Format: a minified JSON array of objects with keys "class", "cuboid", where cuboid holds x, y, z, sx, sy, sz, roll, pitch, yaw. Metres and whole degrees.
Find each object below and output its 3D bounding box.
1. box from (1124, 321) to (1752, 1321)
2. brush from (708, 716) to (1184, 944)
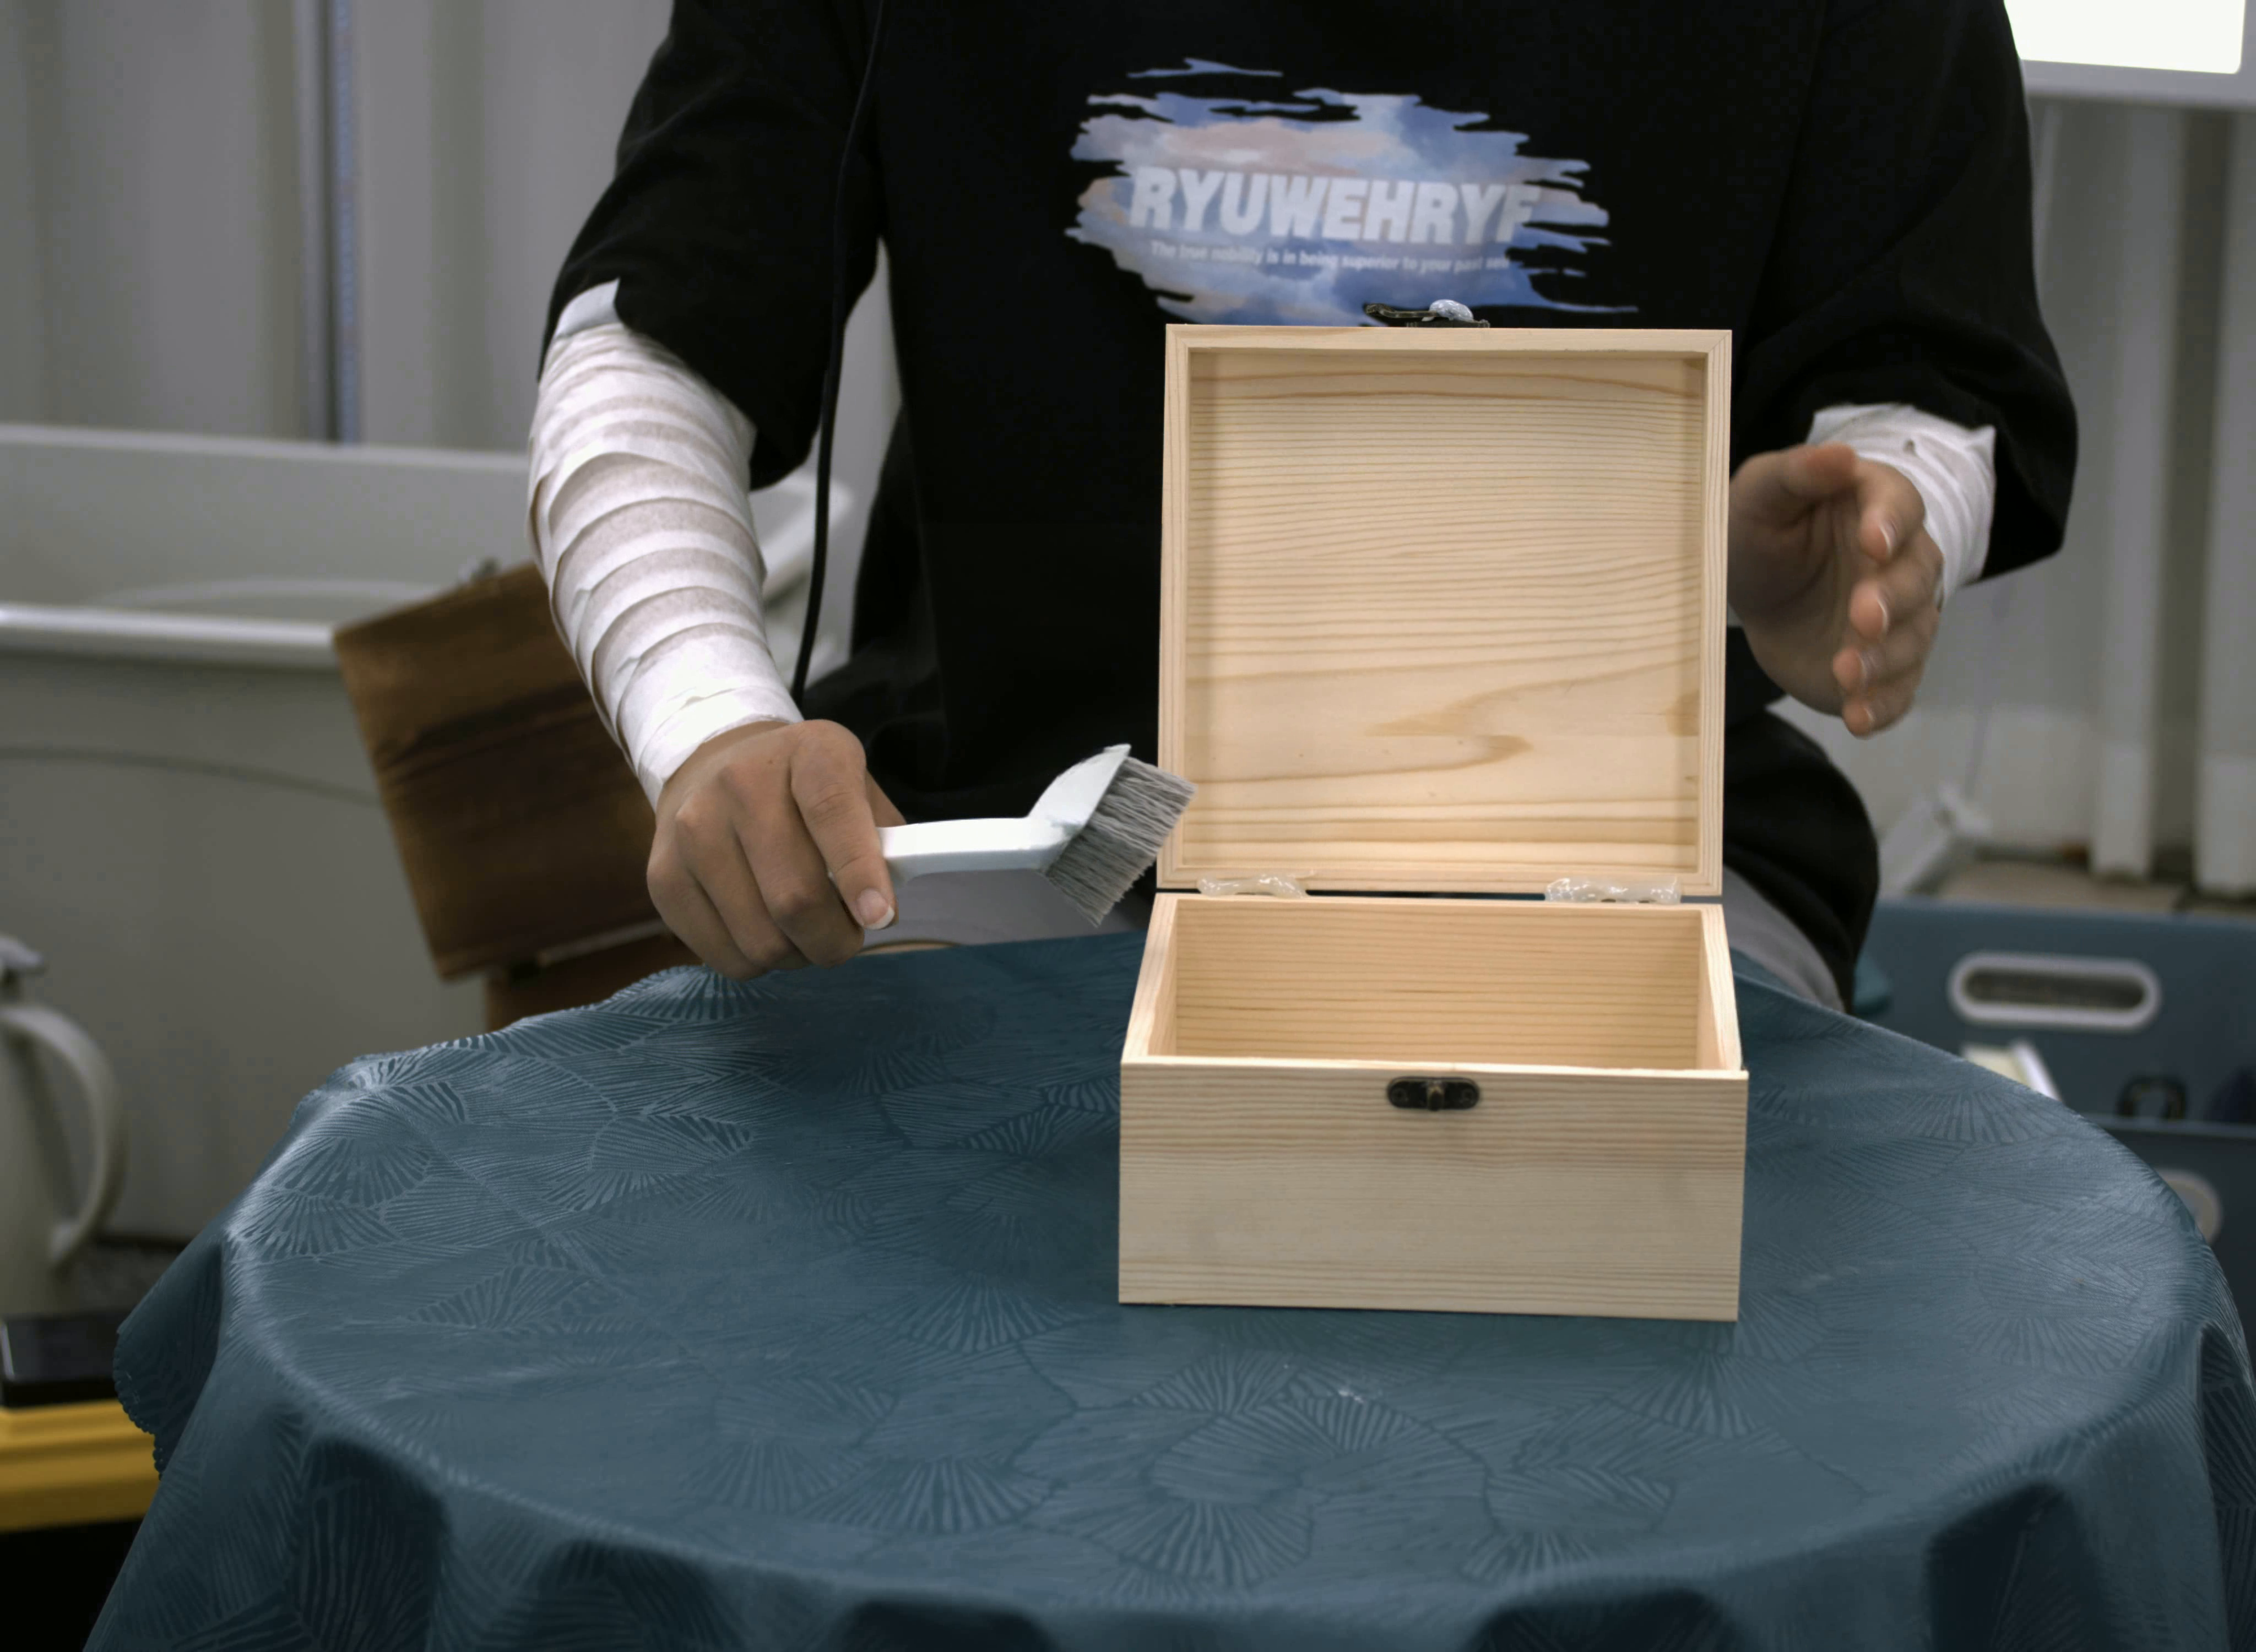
[{"class":"box","cuboid":[0.094,-0.011,1.606,0.181,0.255,0.264,0,15,3]},{"class":"brush","cuboid":[-0.058,0.016,1.656,0.242,0.050,0.034,-23,33,55]}]
